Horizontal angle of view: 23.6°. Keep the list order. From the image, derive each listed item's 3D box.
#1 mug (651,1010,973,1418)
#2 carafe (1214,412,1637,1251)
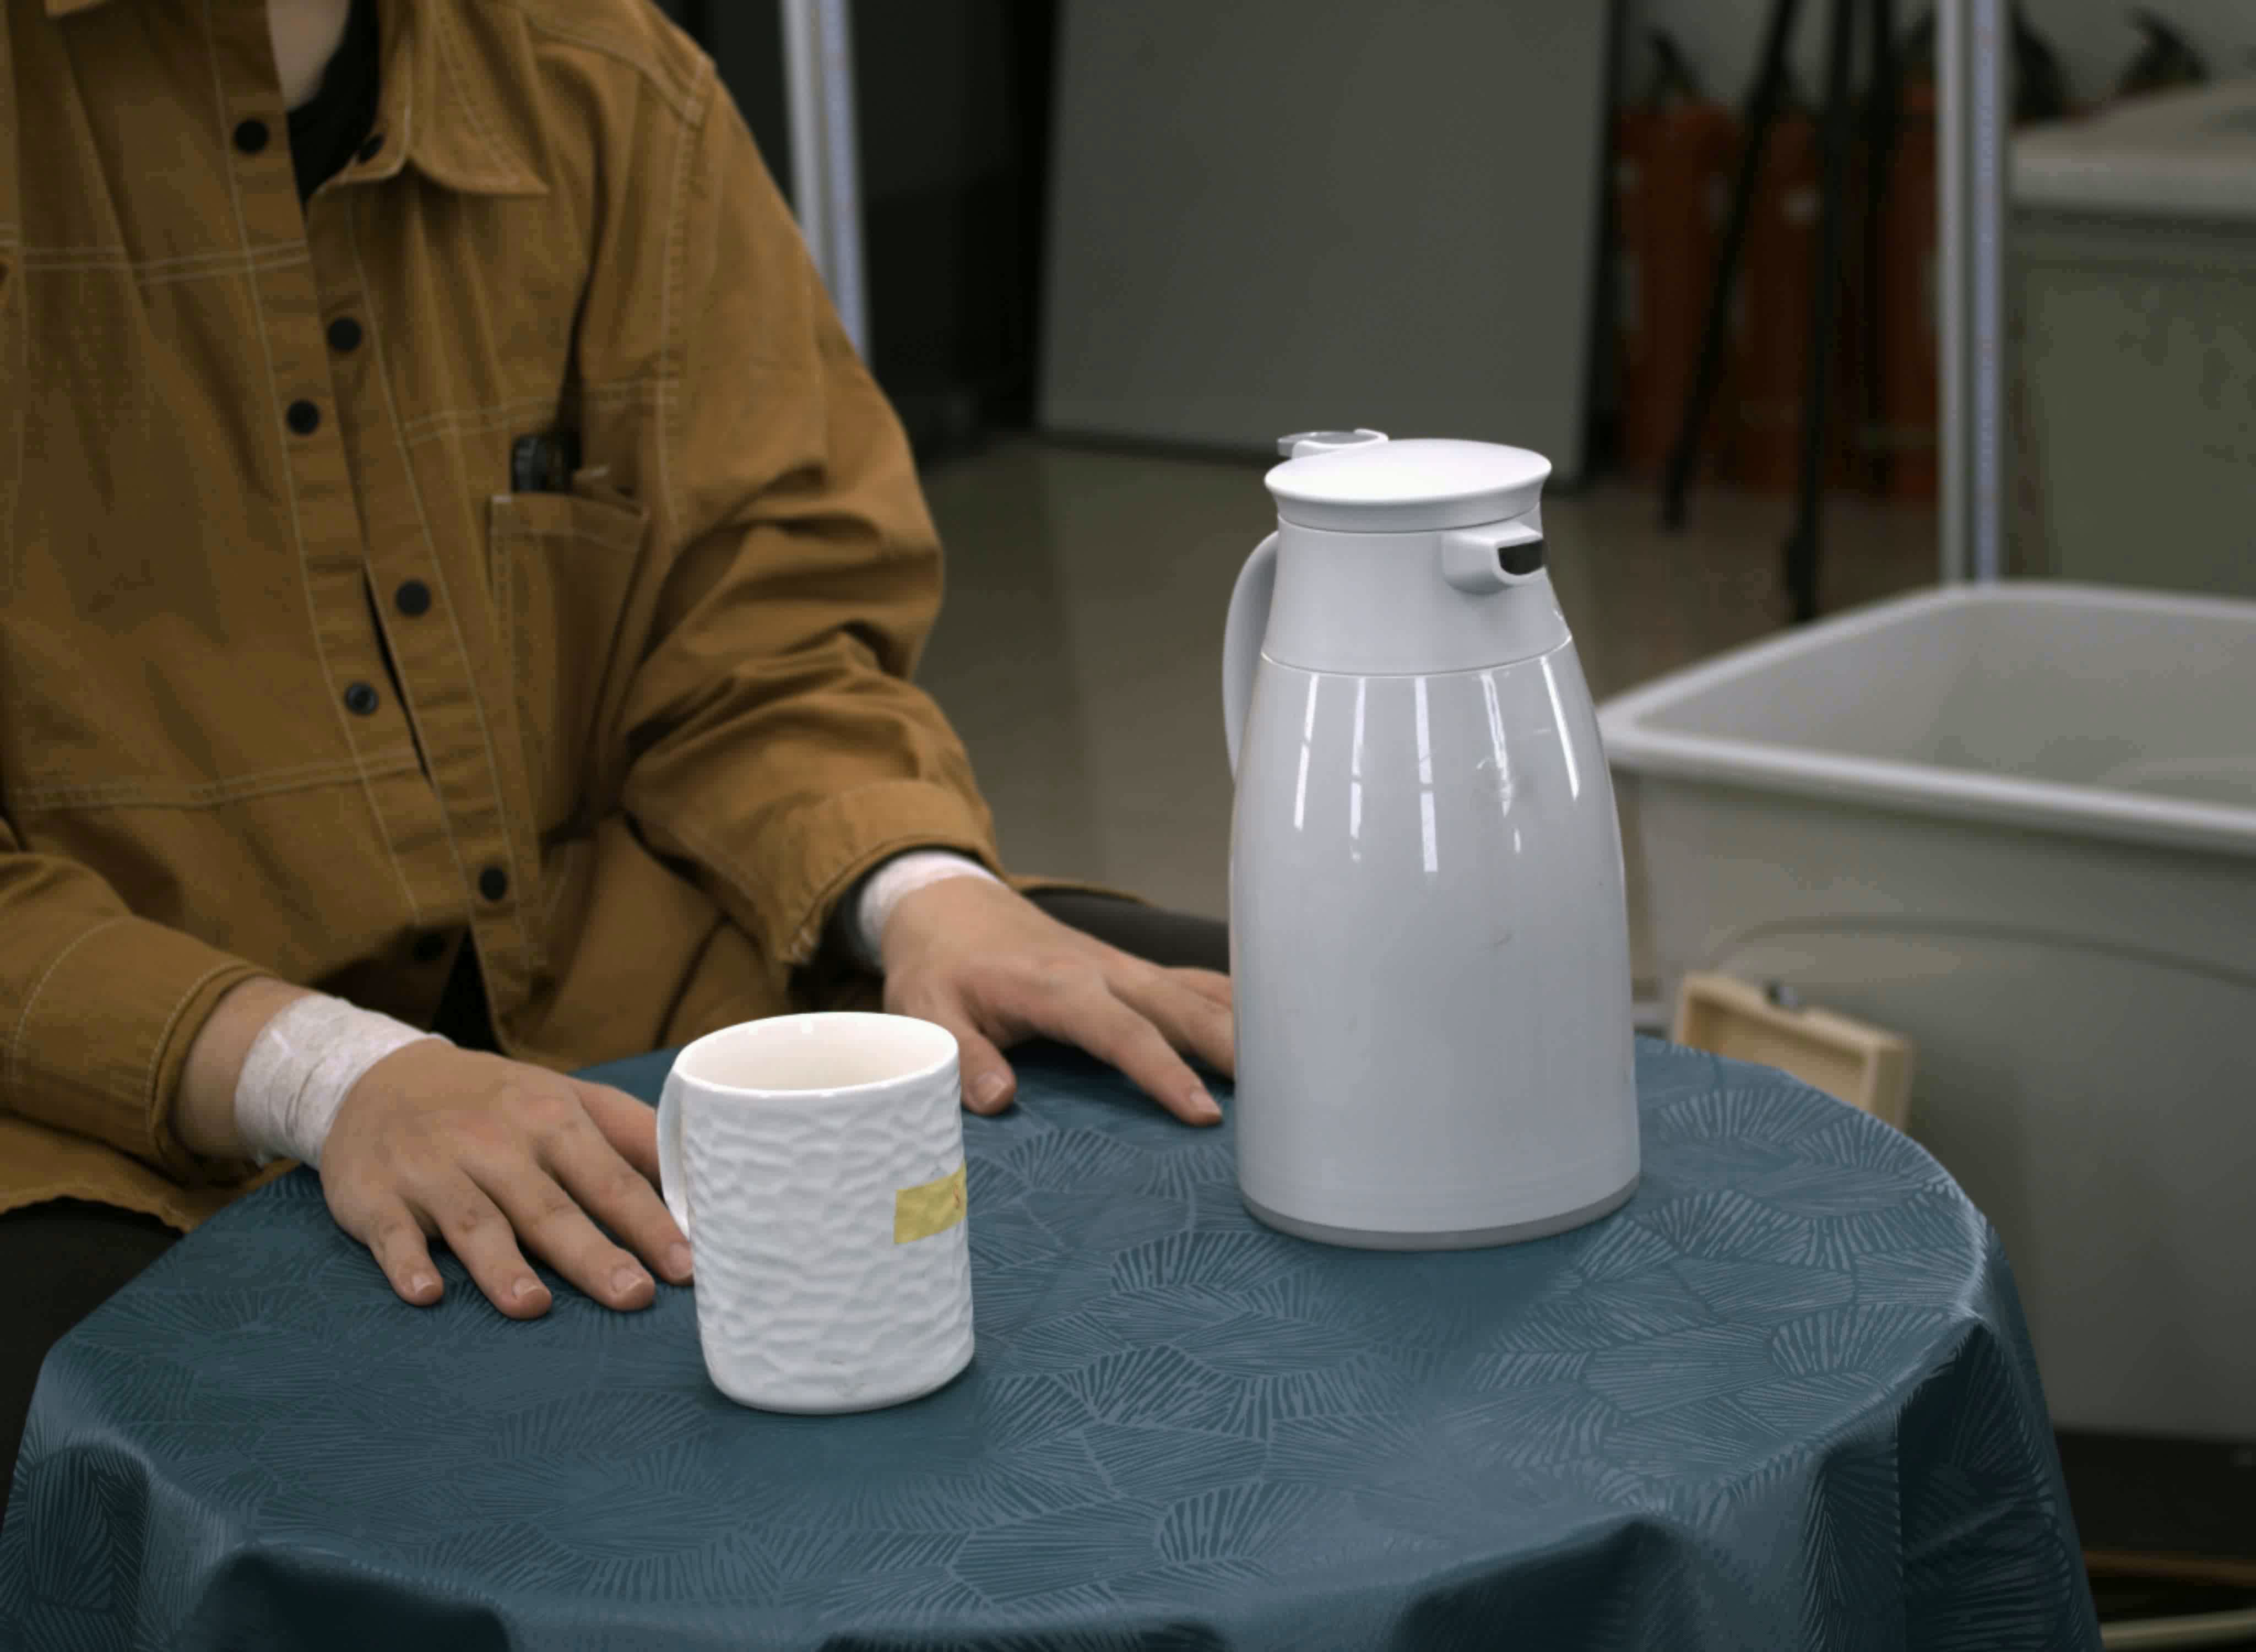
[{"bbox_3d":[-0.101,0.114,1.623,0.083,0.103,0.119,-15,17,-41],"label":"mug"},{"bbox_3d":[0.082,-0.006,1.742,0.129,0.251,0.169,-13,15,-30],"label":"carafe"}]
